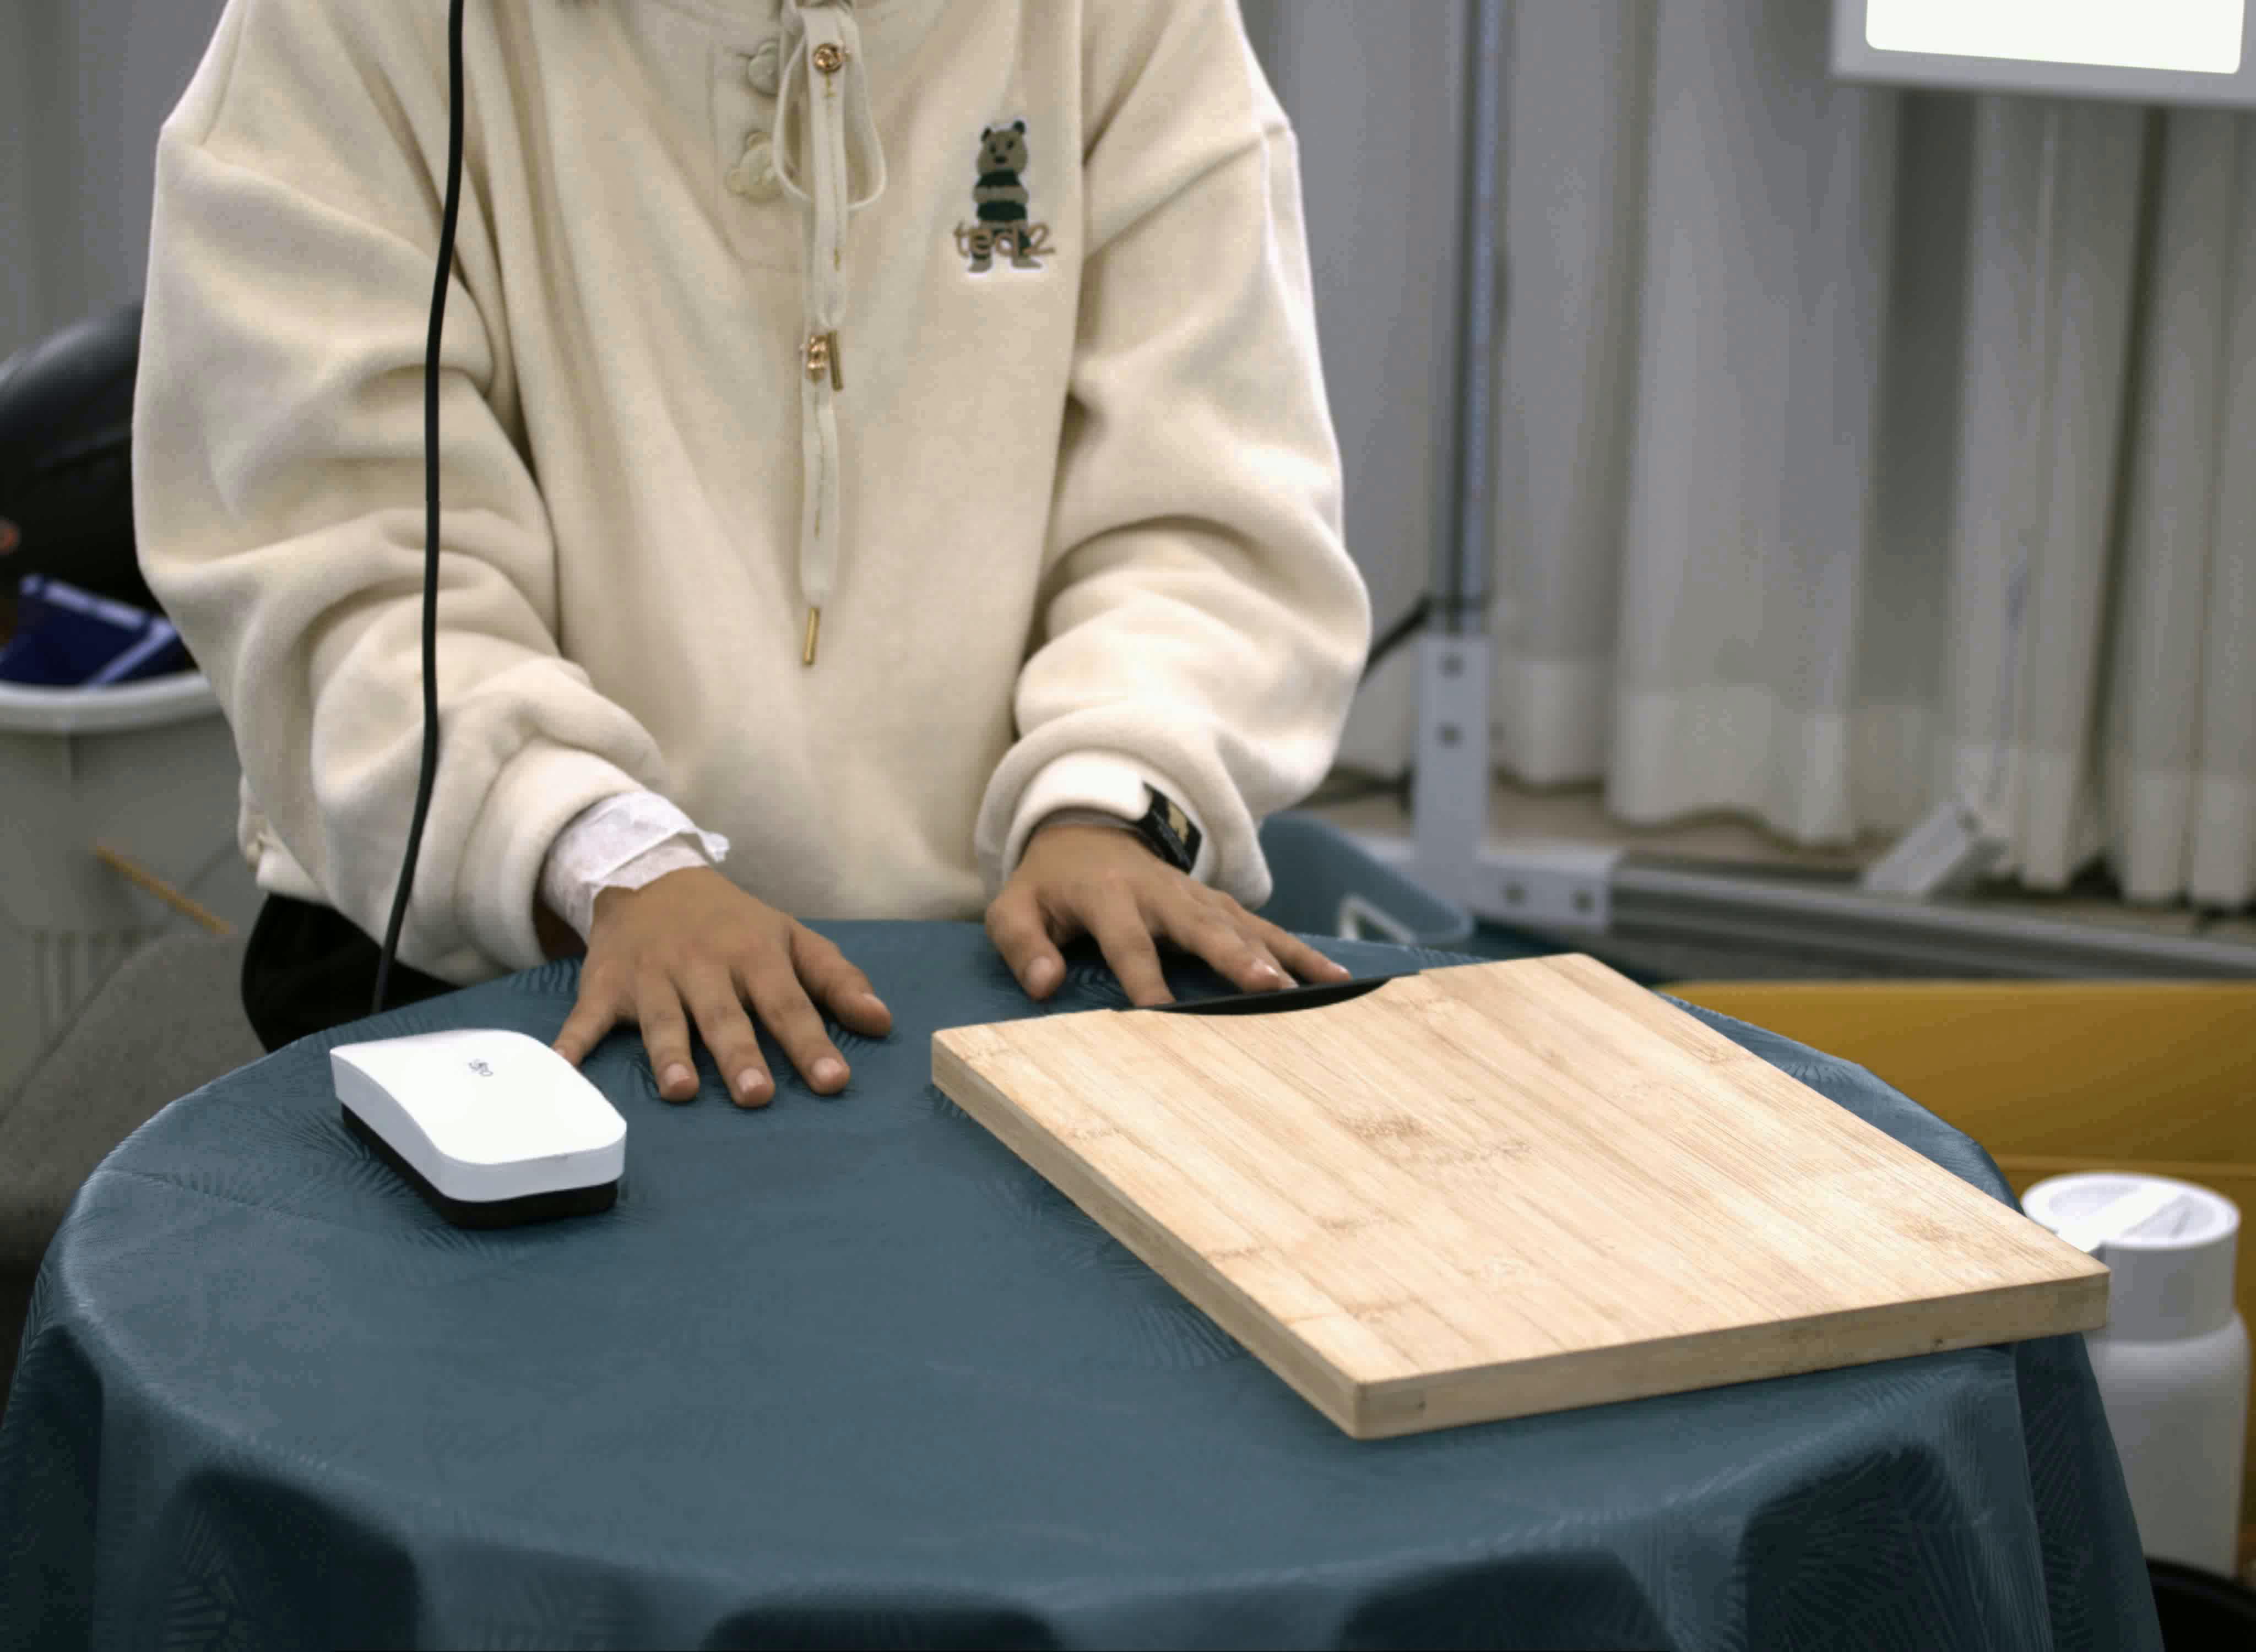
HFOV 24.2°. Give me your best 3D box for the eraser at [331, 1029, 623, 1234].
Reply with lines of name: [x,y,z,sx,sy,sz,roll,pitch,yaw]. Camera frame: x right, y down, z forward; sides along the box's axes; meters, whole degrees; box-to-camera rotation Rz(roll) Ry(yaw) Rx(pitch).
eraser: [-0.202,0.090,1.638,0.063,0.035,0.129,-6,18,-24]

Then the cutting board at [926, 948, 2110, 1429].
cutting board: [0.108,0.105,1.622,0.251,0.024,0.344,-6,17,-23]
